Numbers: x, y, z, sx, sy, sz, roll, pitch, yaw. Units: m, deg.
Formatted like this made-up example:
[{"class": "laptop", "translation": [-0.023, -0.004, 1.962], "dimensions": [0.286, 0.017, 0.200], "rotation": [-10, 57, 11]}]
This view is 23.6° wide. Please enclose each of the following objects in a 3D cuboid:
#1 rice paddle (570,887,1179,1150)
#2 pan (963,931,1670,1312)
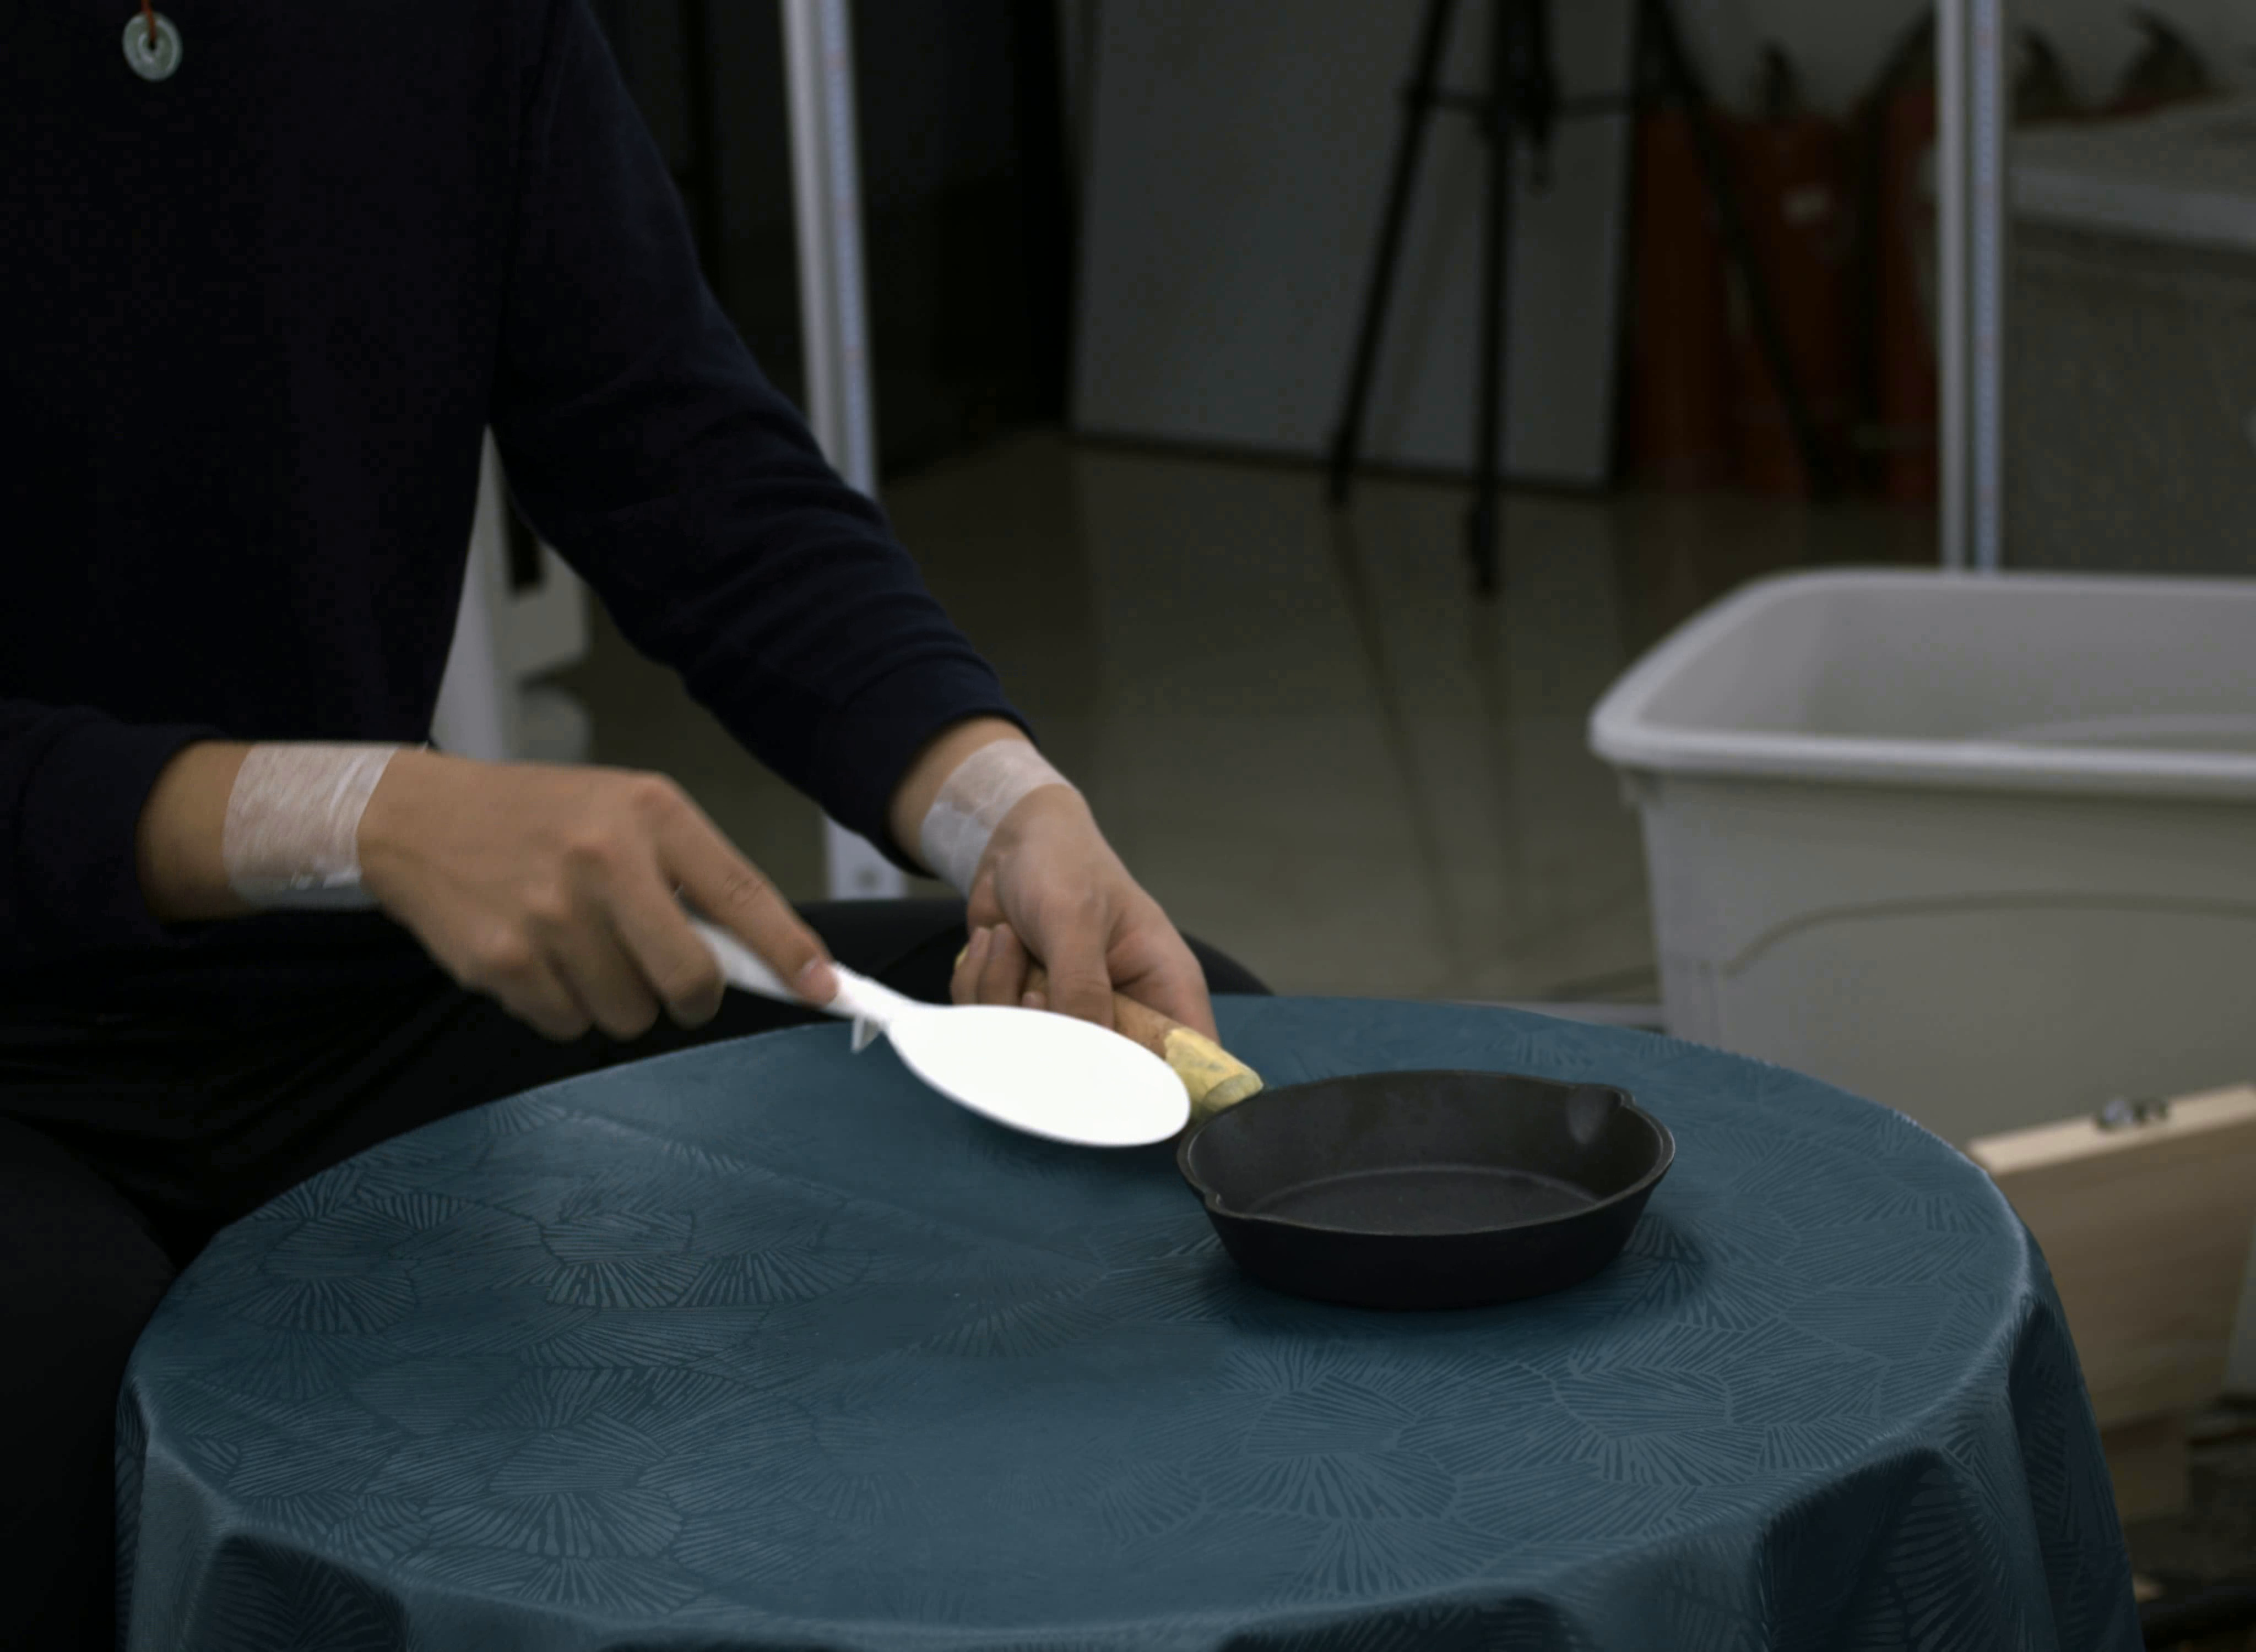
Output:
[{"class": "rice paddle", "translation": [-0.077, 0.060, 1.663], "dimensions": [0.205, 0.030, 0.068], "rotation": [17, 32, 22]}, {"class": "pan", "translation": [0.044, 0.092, 1.757], "dimensions": [0.165, 0.050, 0.328], "rotation": [-13, 19, -33]}]
